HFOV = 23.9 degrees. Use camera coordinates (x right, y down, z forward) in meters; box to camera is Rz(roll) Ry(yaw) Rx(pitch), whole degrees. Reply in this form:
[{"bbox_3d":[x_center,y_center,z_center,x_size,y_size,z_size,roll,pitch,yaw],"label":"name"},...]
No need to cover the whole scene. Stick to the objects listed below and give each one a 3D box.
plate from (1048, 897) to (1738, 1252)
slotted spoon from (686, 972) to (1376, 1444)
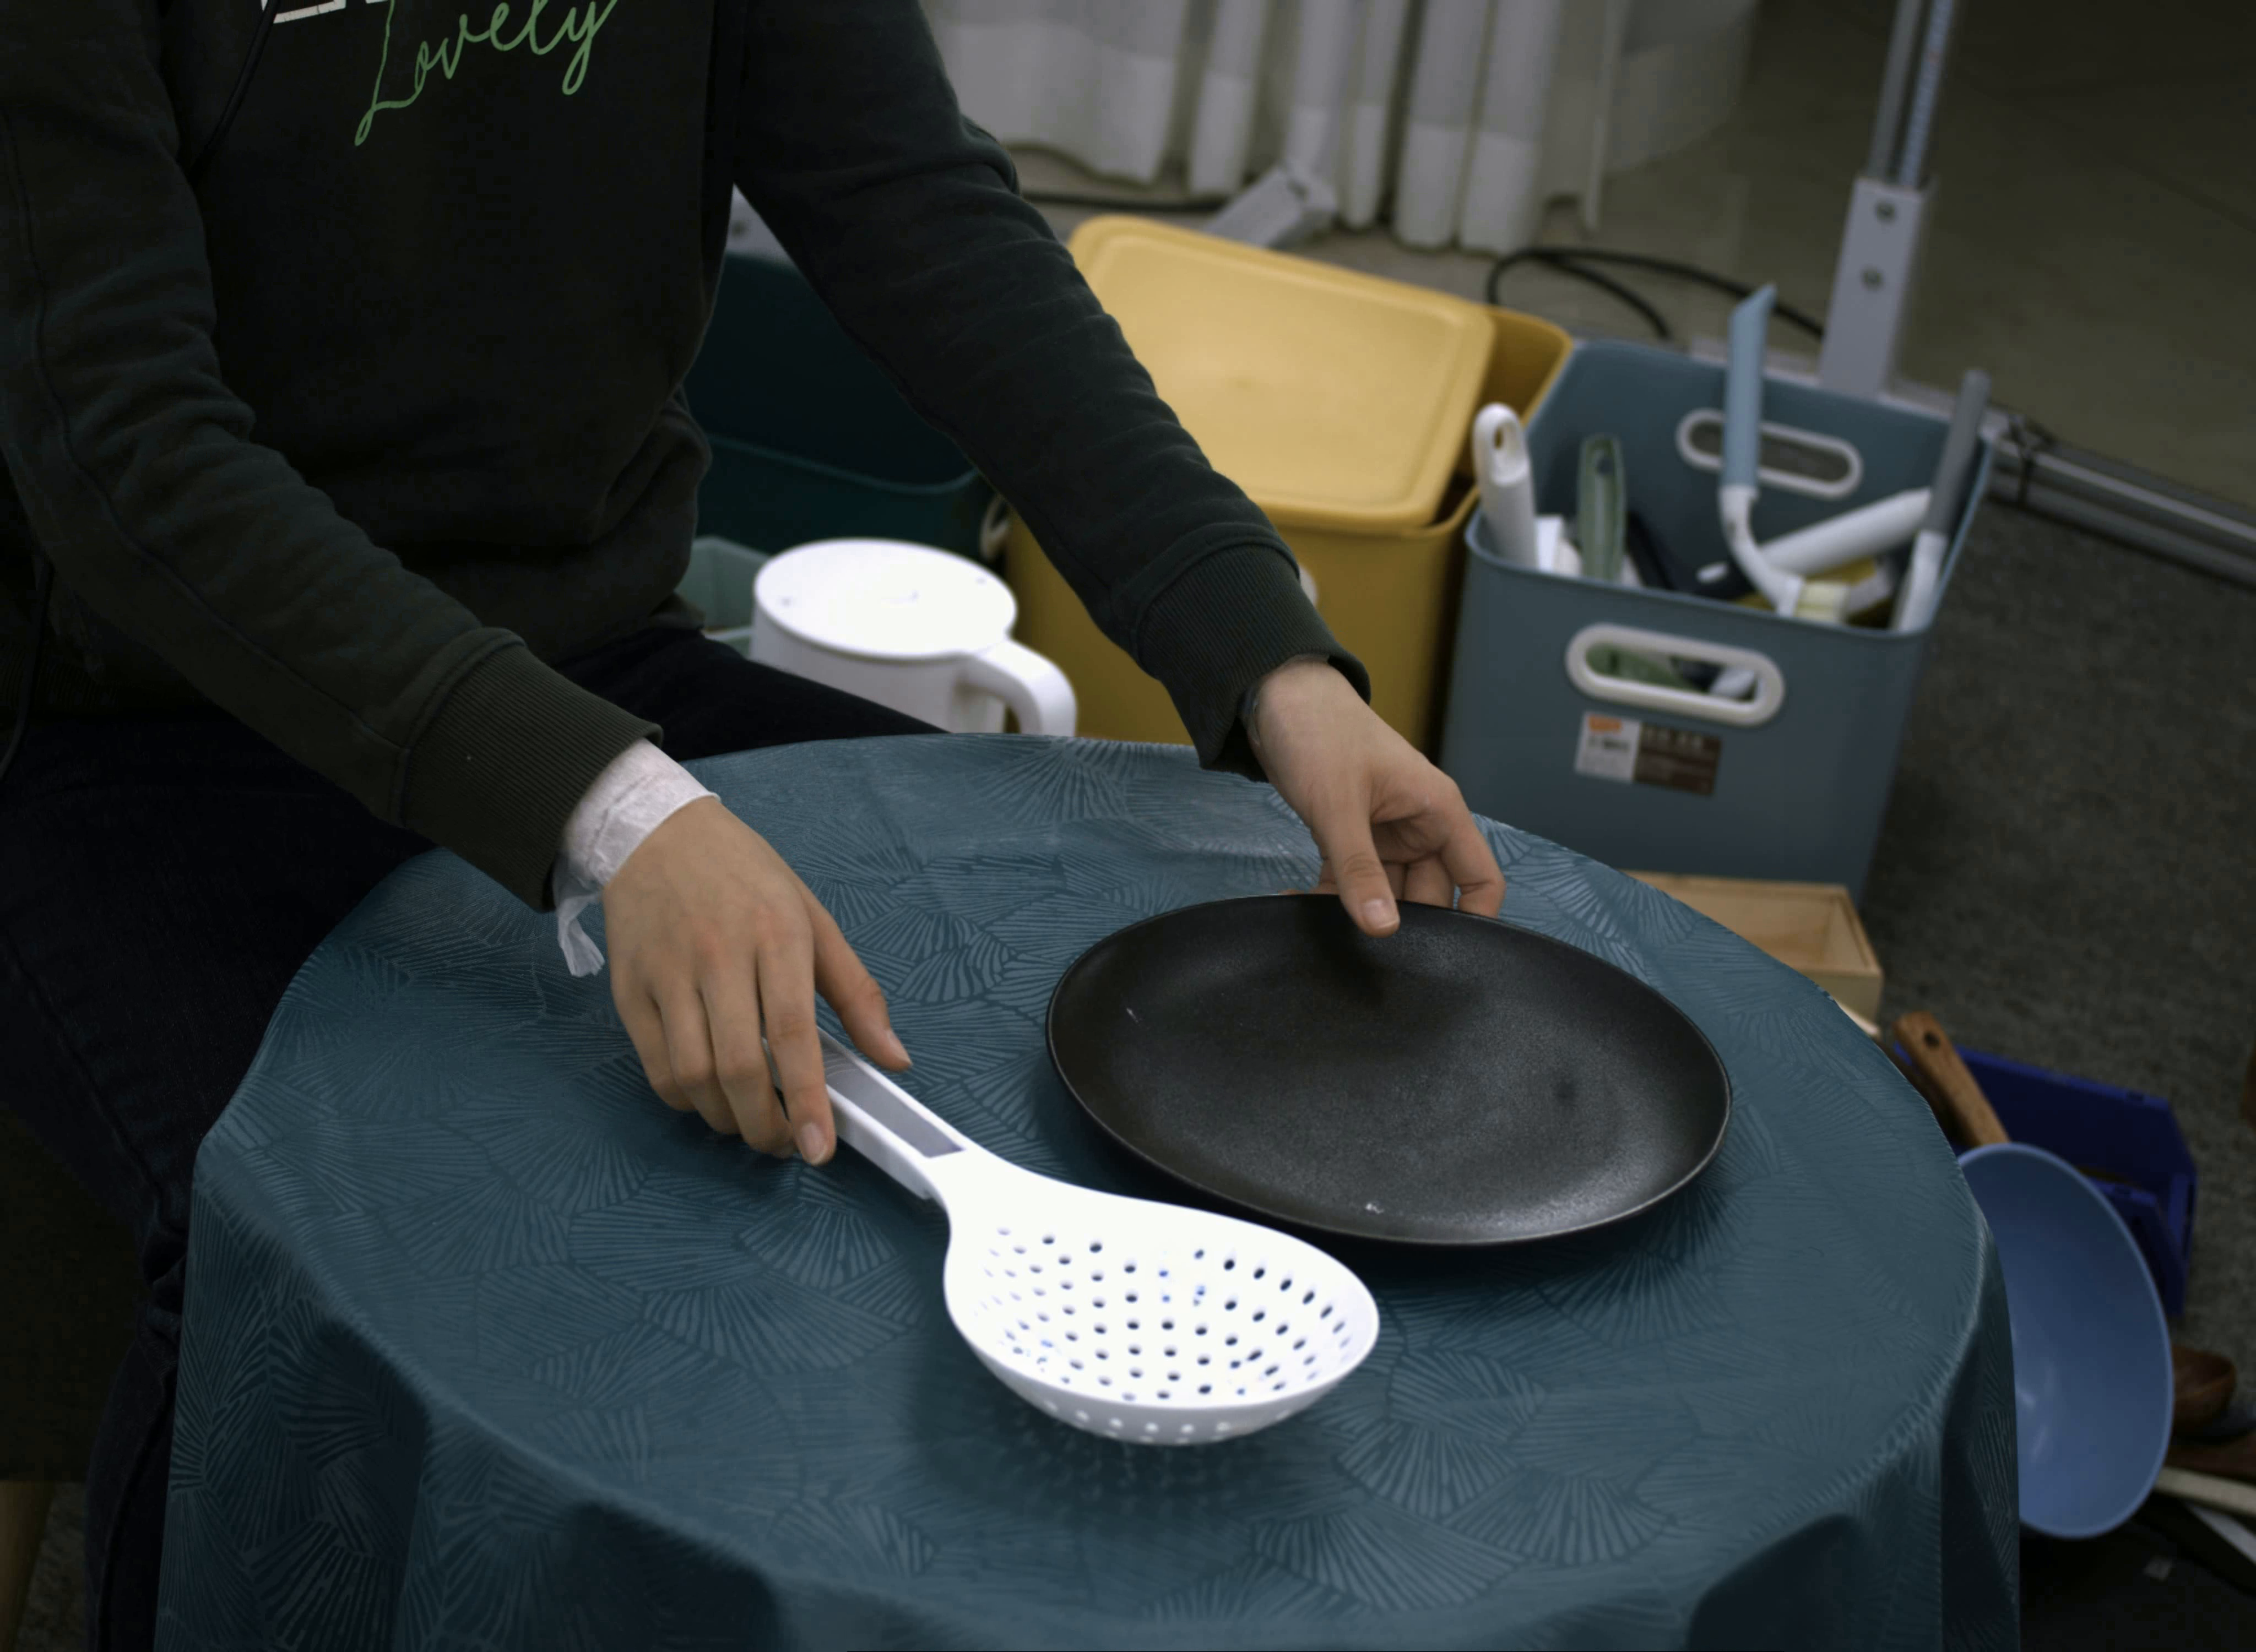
[{"bbox_3d":[0.091,0.091,1.861,0.243,0.023,0.246,5,27,-3],"label":"plate"},{"bbox_3d":[-0.051,0.119,1.748,0.135,0.045,0.353,-9,30,-33],"label":"slotted spoon"}]
